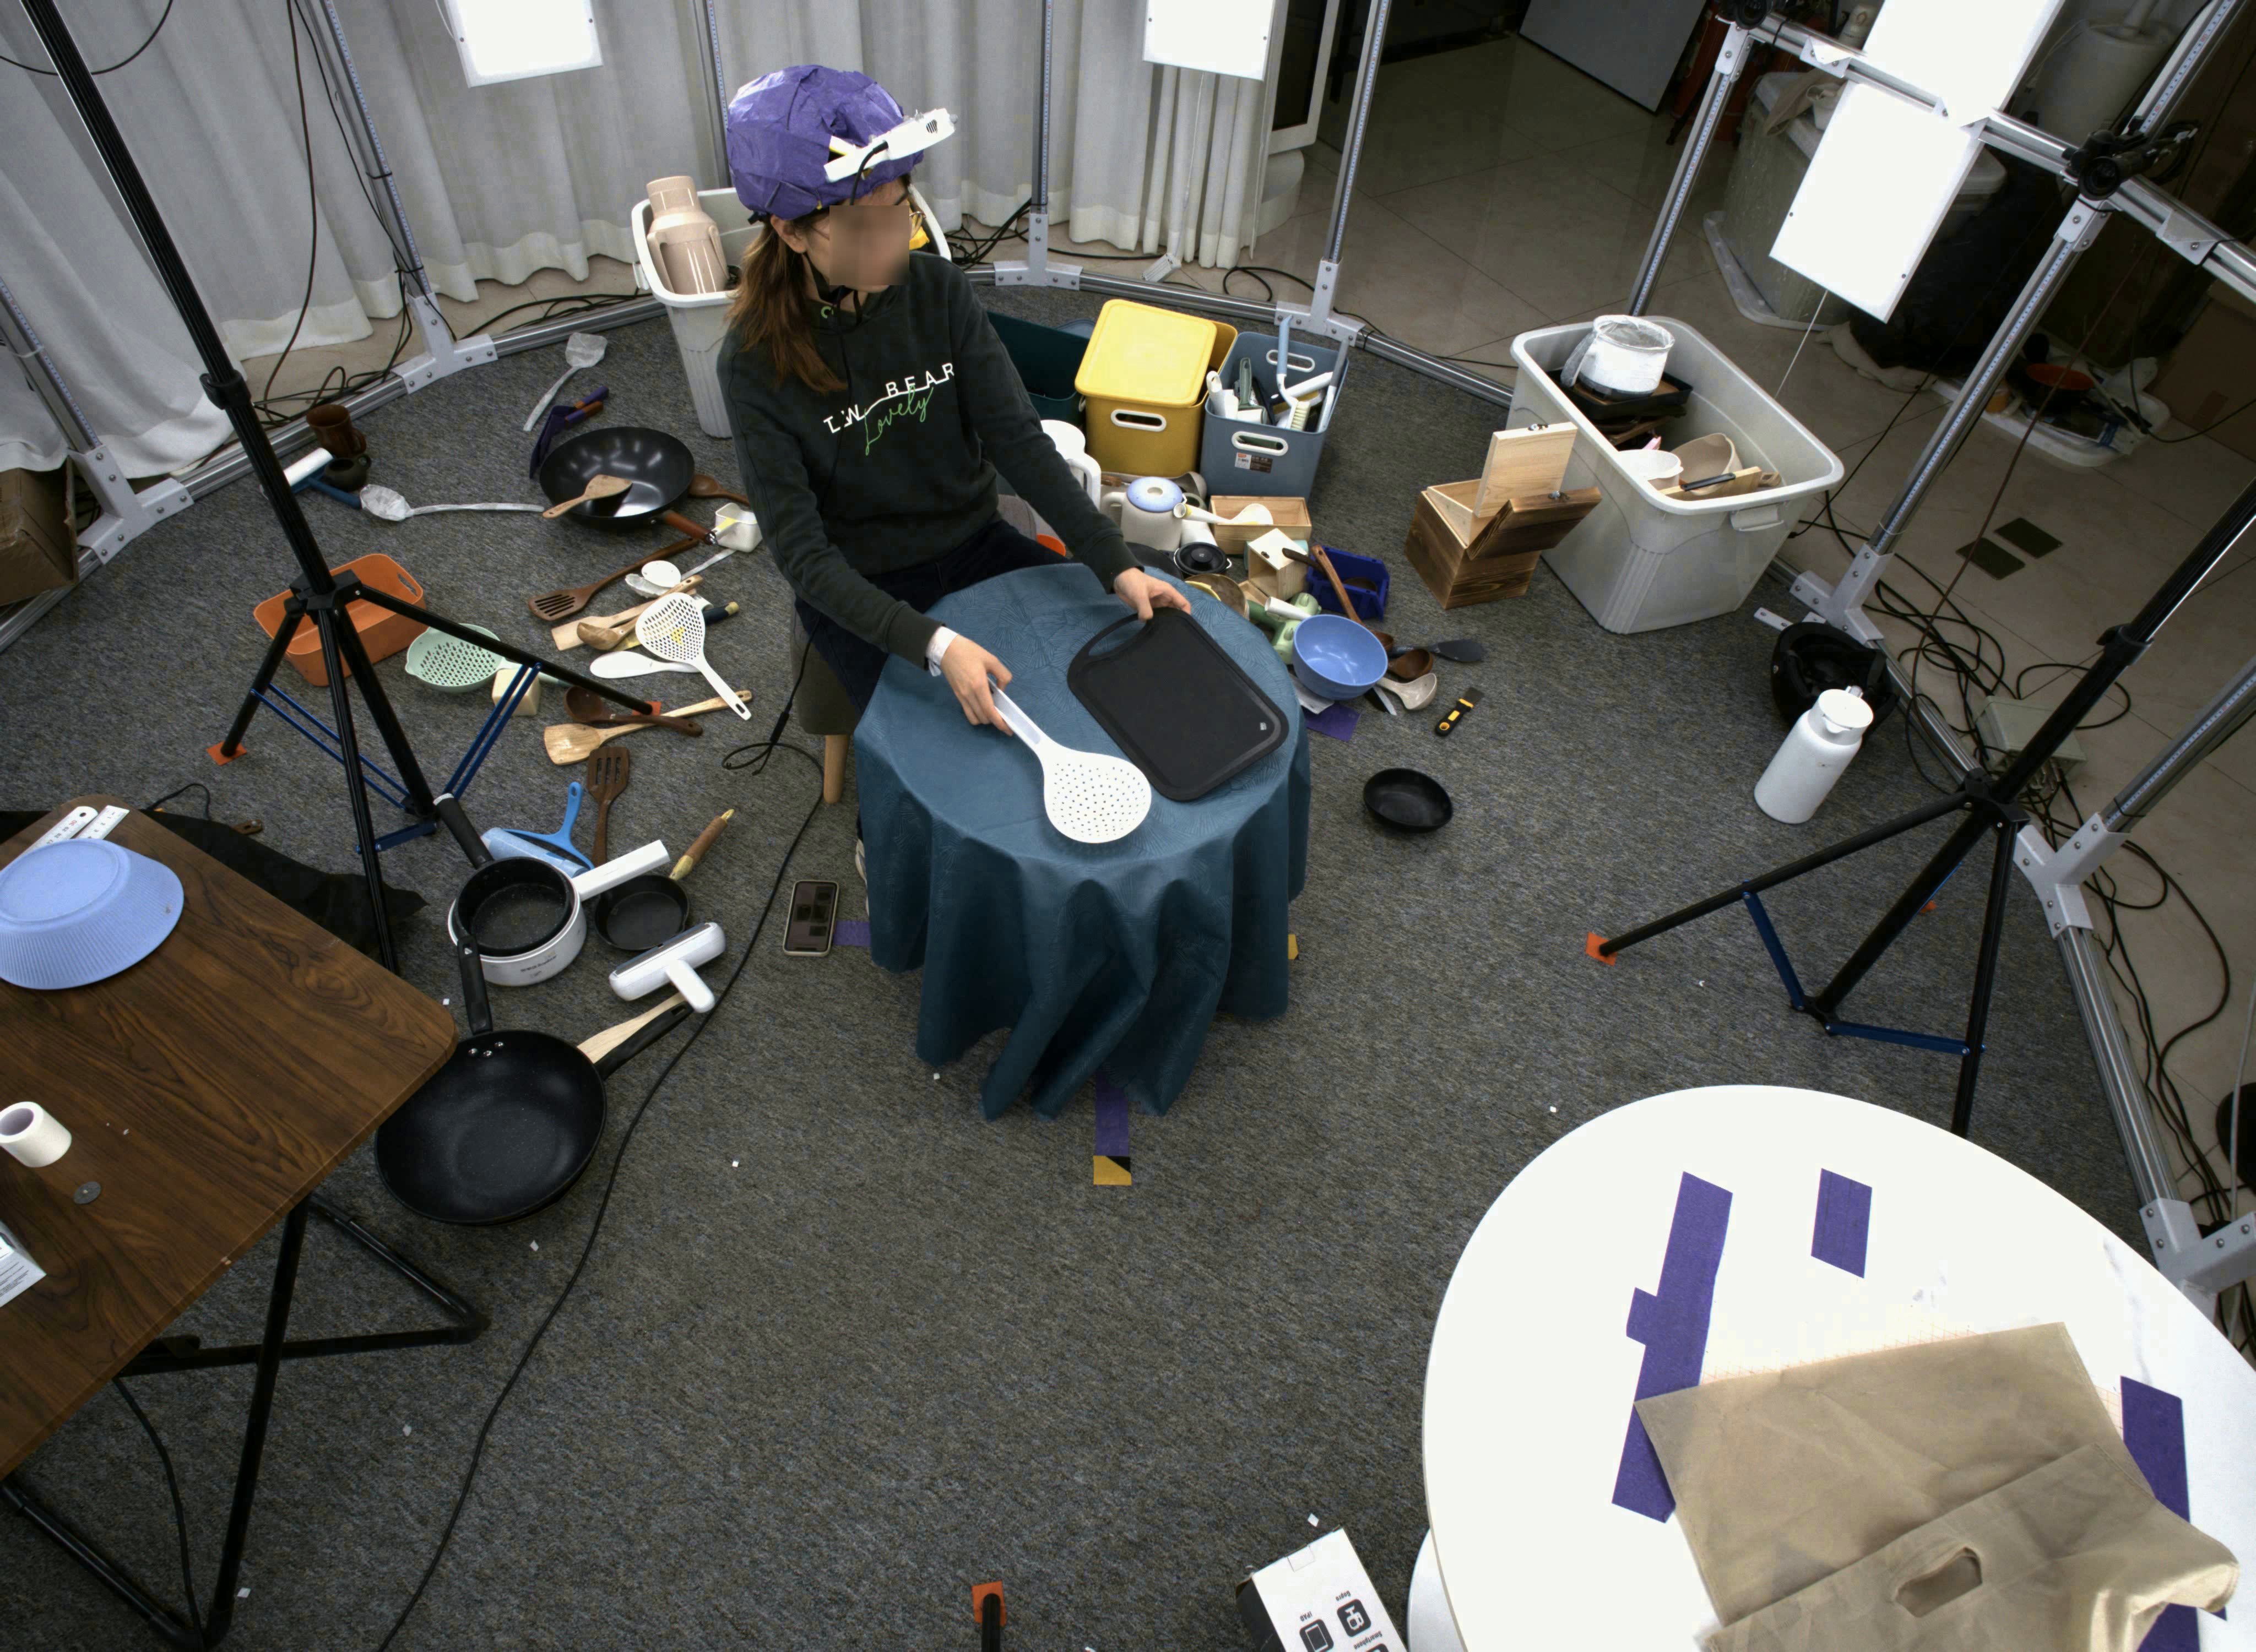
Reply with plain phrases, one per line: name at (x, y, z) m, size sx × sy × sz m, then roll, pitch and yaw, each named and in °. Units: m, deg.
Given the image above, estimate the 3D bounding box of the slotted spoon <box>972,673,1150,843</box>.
slotted spoon at (-0.104, -0.098, 1.721) m, size 0.137 × 0.044 × 0.356 m, roll -33°, pitch 62°, yaw -18°

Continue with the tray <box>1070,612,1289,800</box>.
tray at (0.063, -0.181, 1.812) m, size 0.212 × 0.009 × 0.332 m, roll -31°, pitch 57°, yaw -12°
